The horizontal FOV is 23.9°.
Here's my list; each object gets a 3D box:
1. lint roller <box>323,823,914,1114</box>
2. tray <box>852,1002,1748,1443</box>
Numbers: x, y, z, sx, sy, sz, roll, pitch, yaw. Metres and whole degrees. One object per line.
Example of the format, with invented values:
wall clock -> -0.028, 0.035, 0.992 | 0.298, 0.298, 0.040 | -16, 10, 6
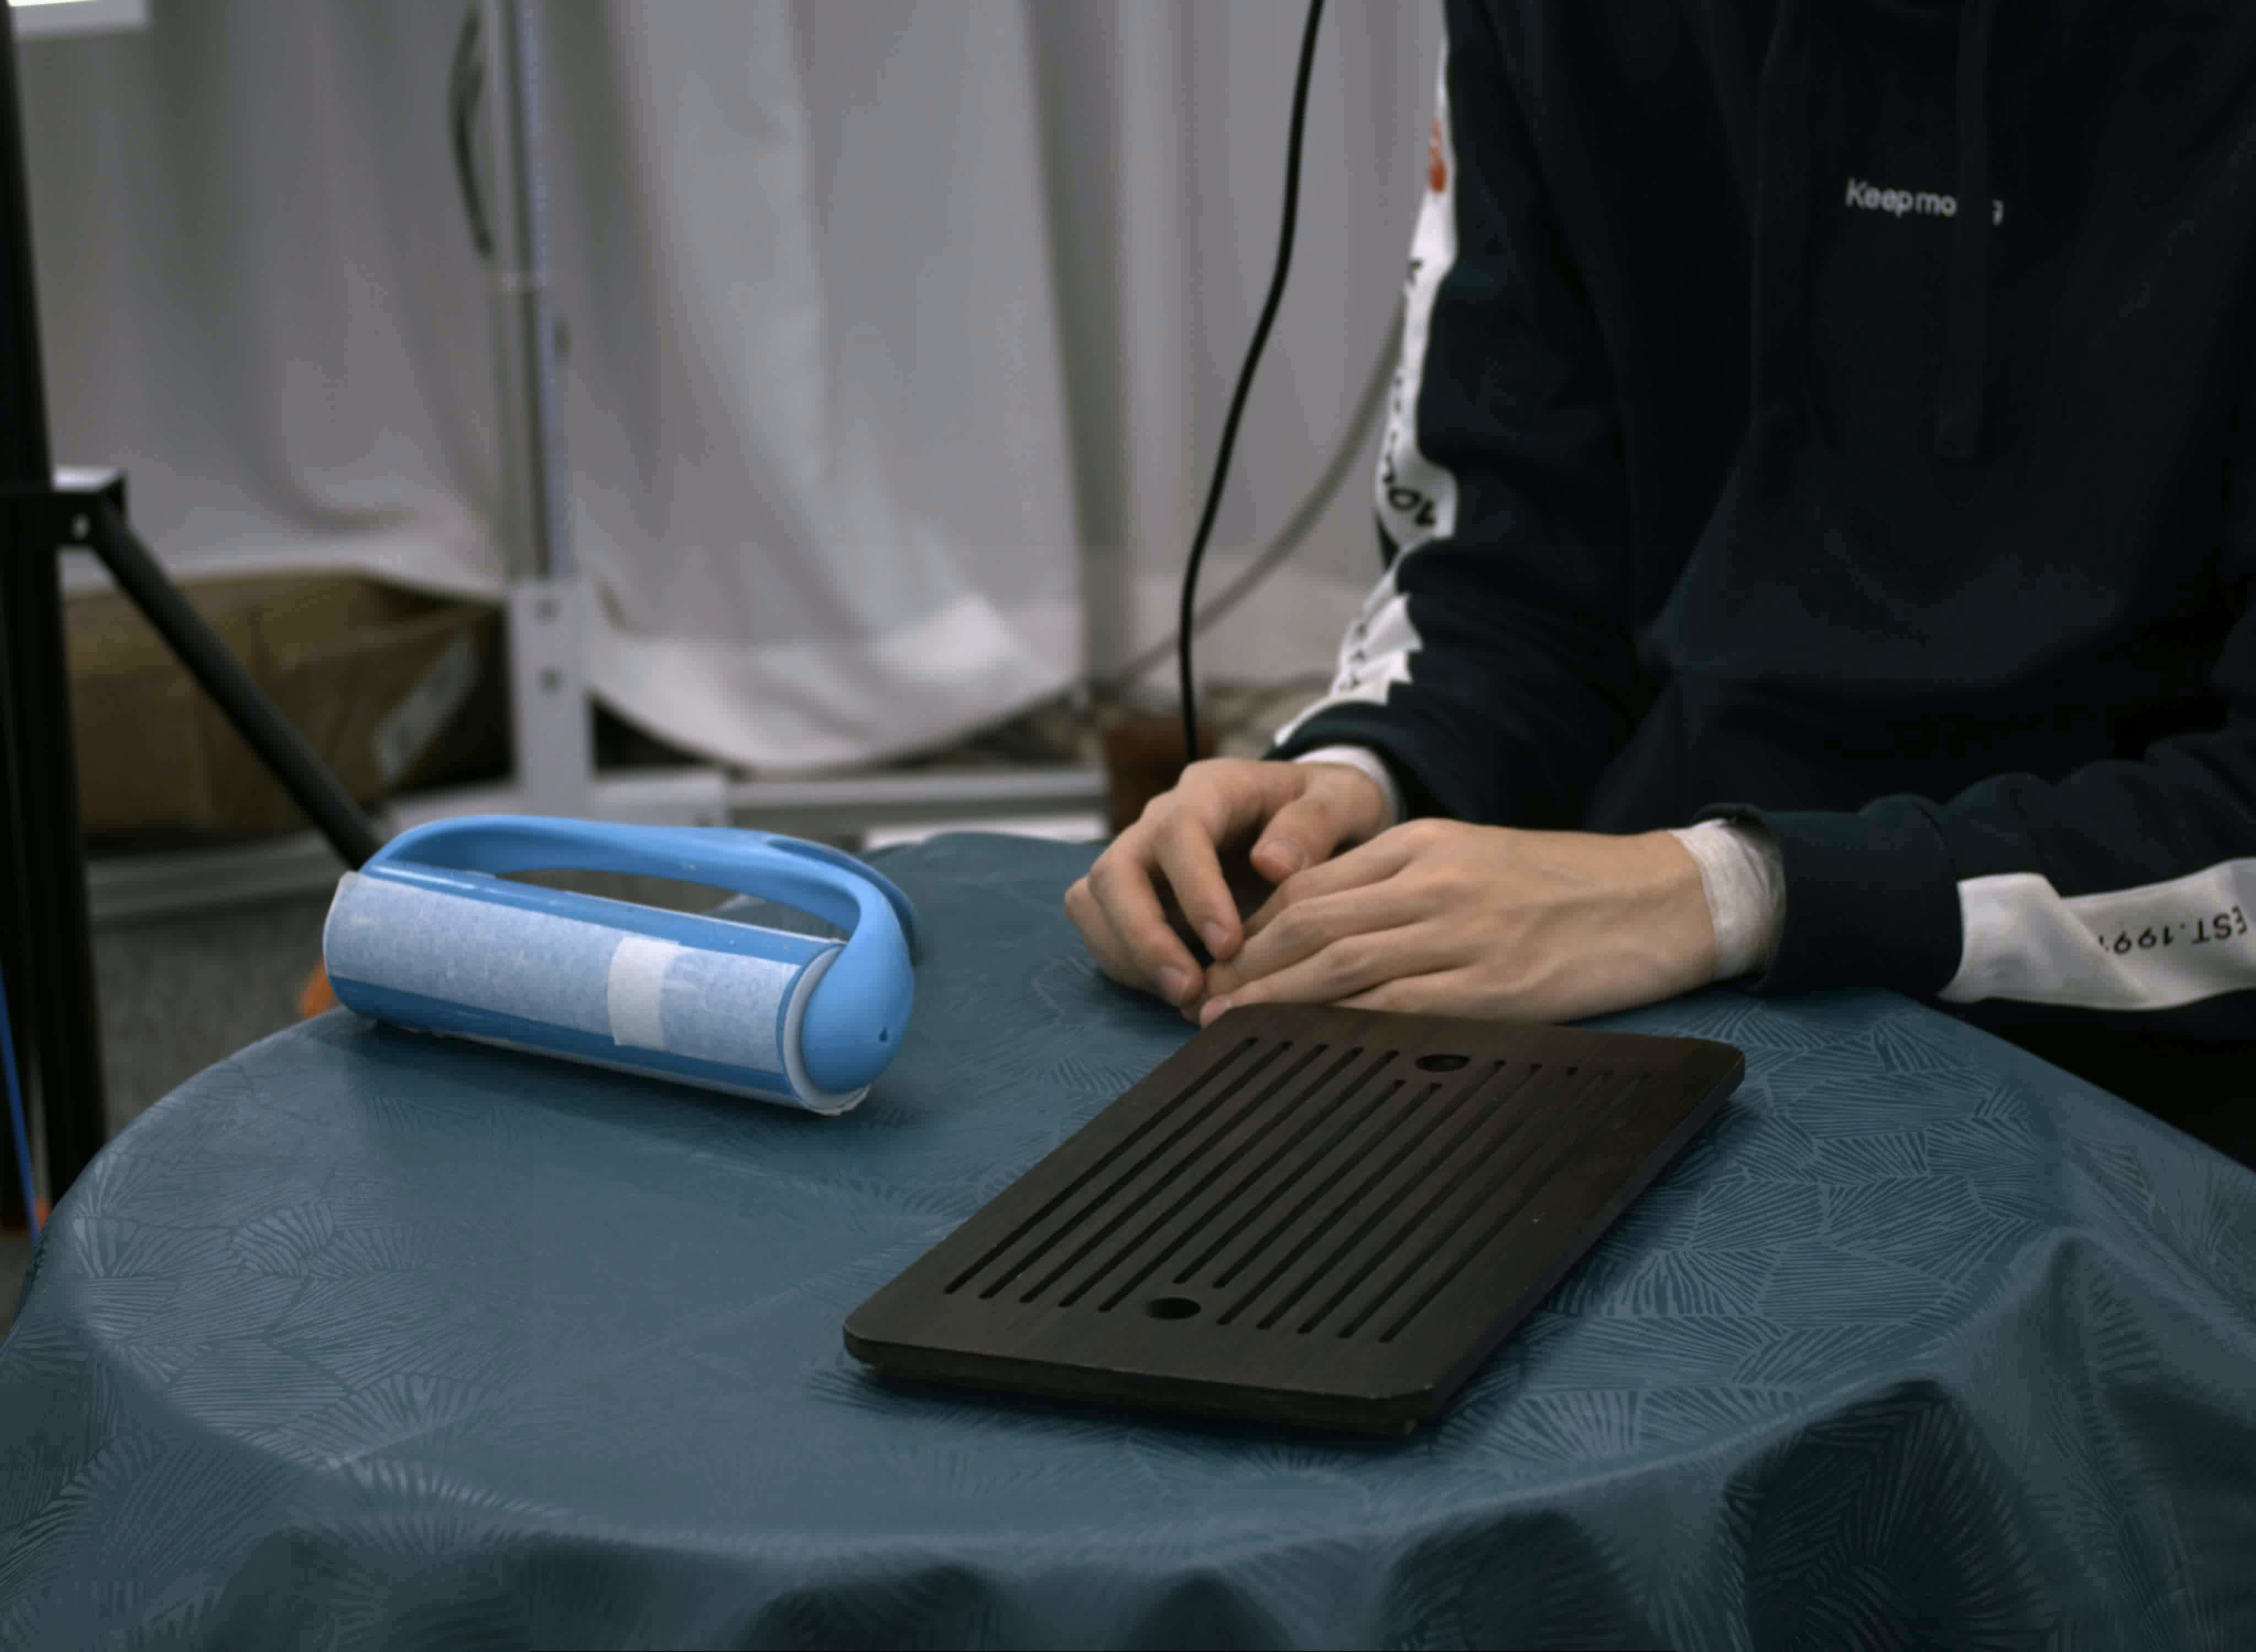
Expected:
lint roller -> -0.134, 0.033, 1.738 | 0.233, 0.068, 0.177 | 6, 19, 34
tray -> 0.057, 0.109, 1.511 | 0.172, 0.018, 0.302 | 4, 17, 23
